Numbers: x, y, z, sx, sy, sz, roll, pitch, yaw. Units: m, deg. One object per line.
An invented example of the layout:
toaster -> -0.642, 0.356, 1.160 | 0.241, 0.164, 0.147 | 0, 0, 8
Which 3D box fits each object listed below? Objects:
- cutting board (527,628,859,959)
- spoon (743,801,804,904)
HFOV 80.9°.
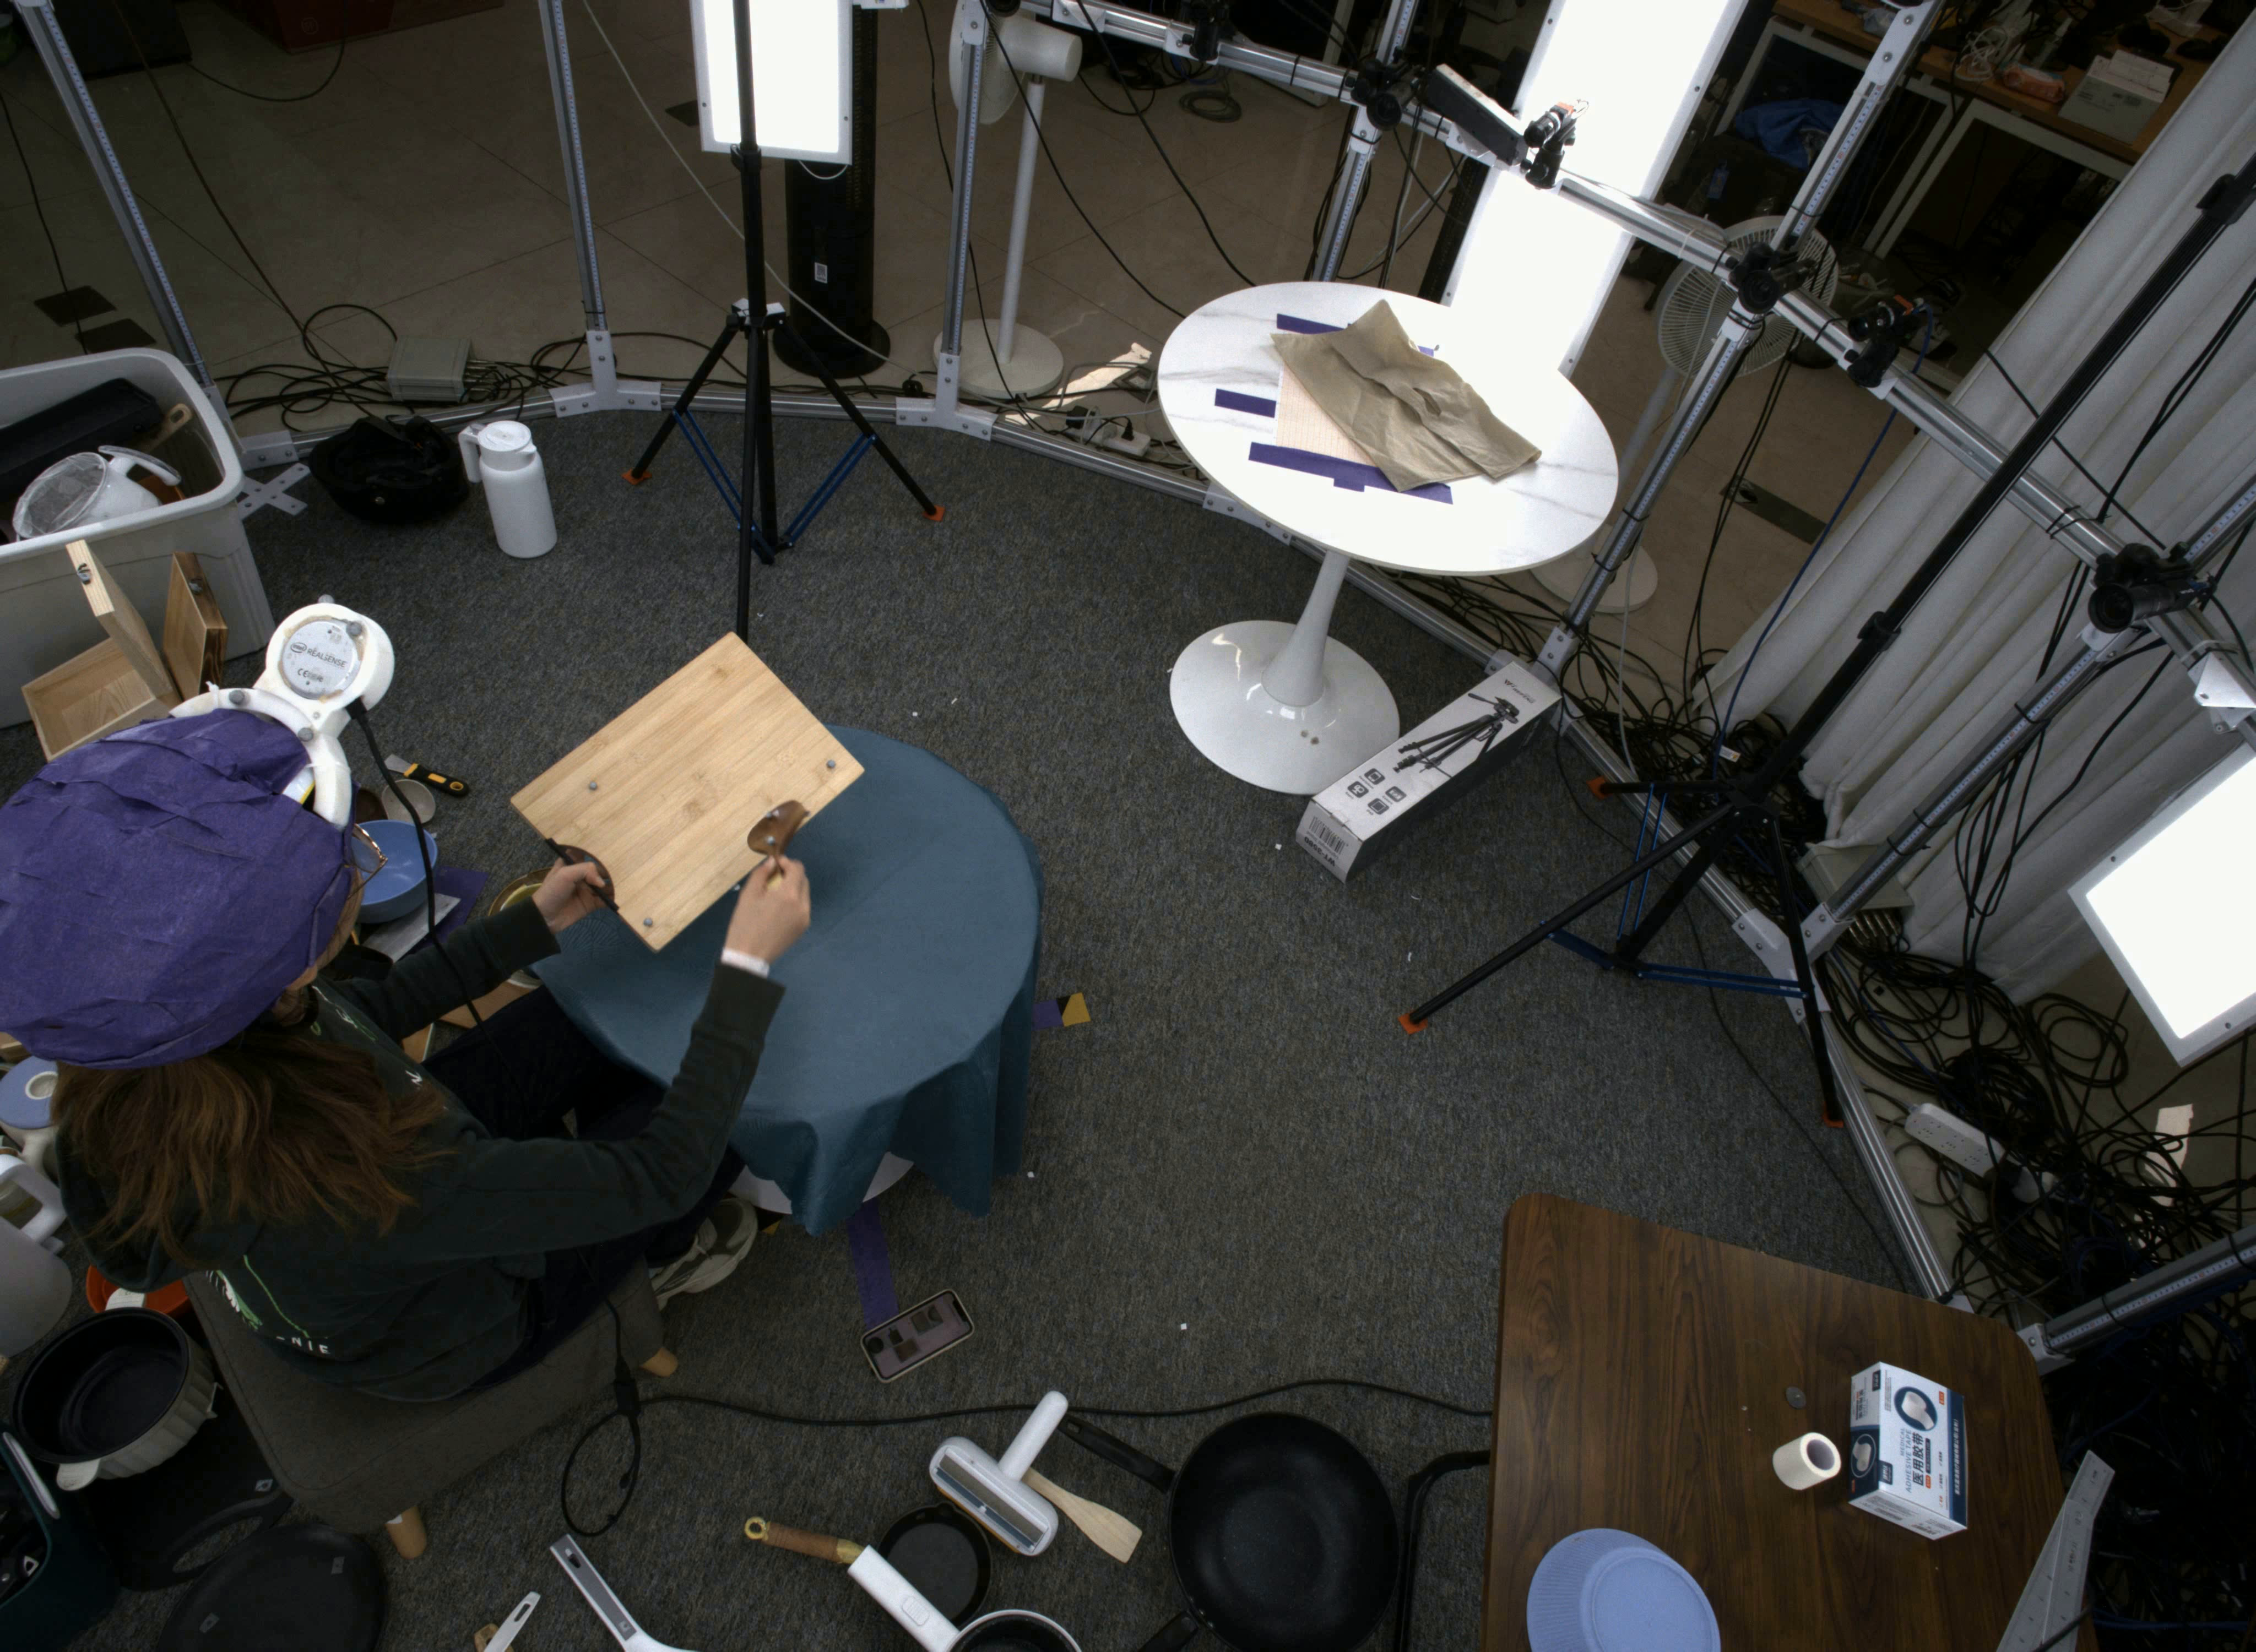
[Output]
cutting board -> -0.524, -0.047, 1.535 | 0.253, 0.023, 0.348 | 46, 61, -6
spoon -> -0.379, 0.026, 1.384 | 0.075, 0.018, 0.209 | -27, 28, -1
